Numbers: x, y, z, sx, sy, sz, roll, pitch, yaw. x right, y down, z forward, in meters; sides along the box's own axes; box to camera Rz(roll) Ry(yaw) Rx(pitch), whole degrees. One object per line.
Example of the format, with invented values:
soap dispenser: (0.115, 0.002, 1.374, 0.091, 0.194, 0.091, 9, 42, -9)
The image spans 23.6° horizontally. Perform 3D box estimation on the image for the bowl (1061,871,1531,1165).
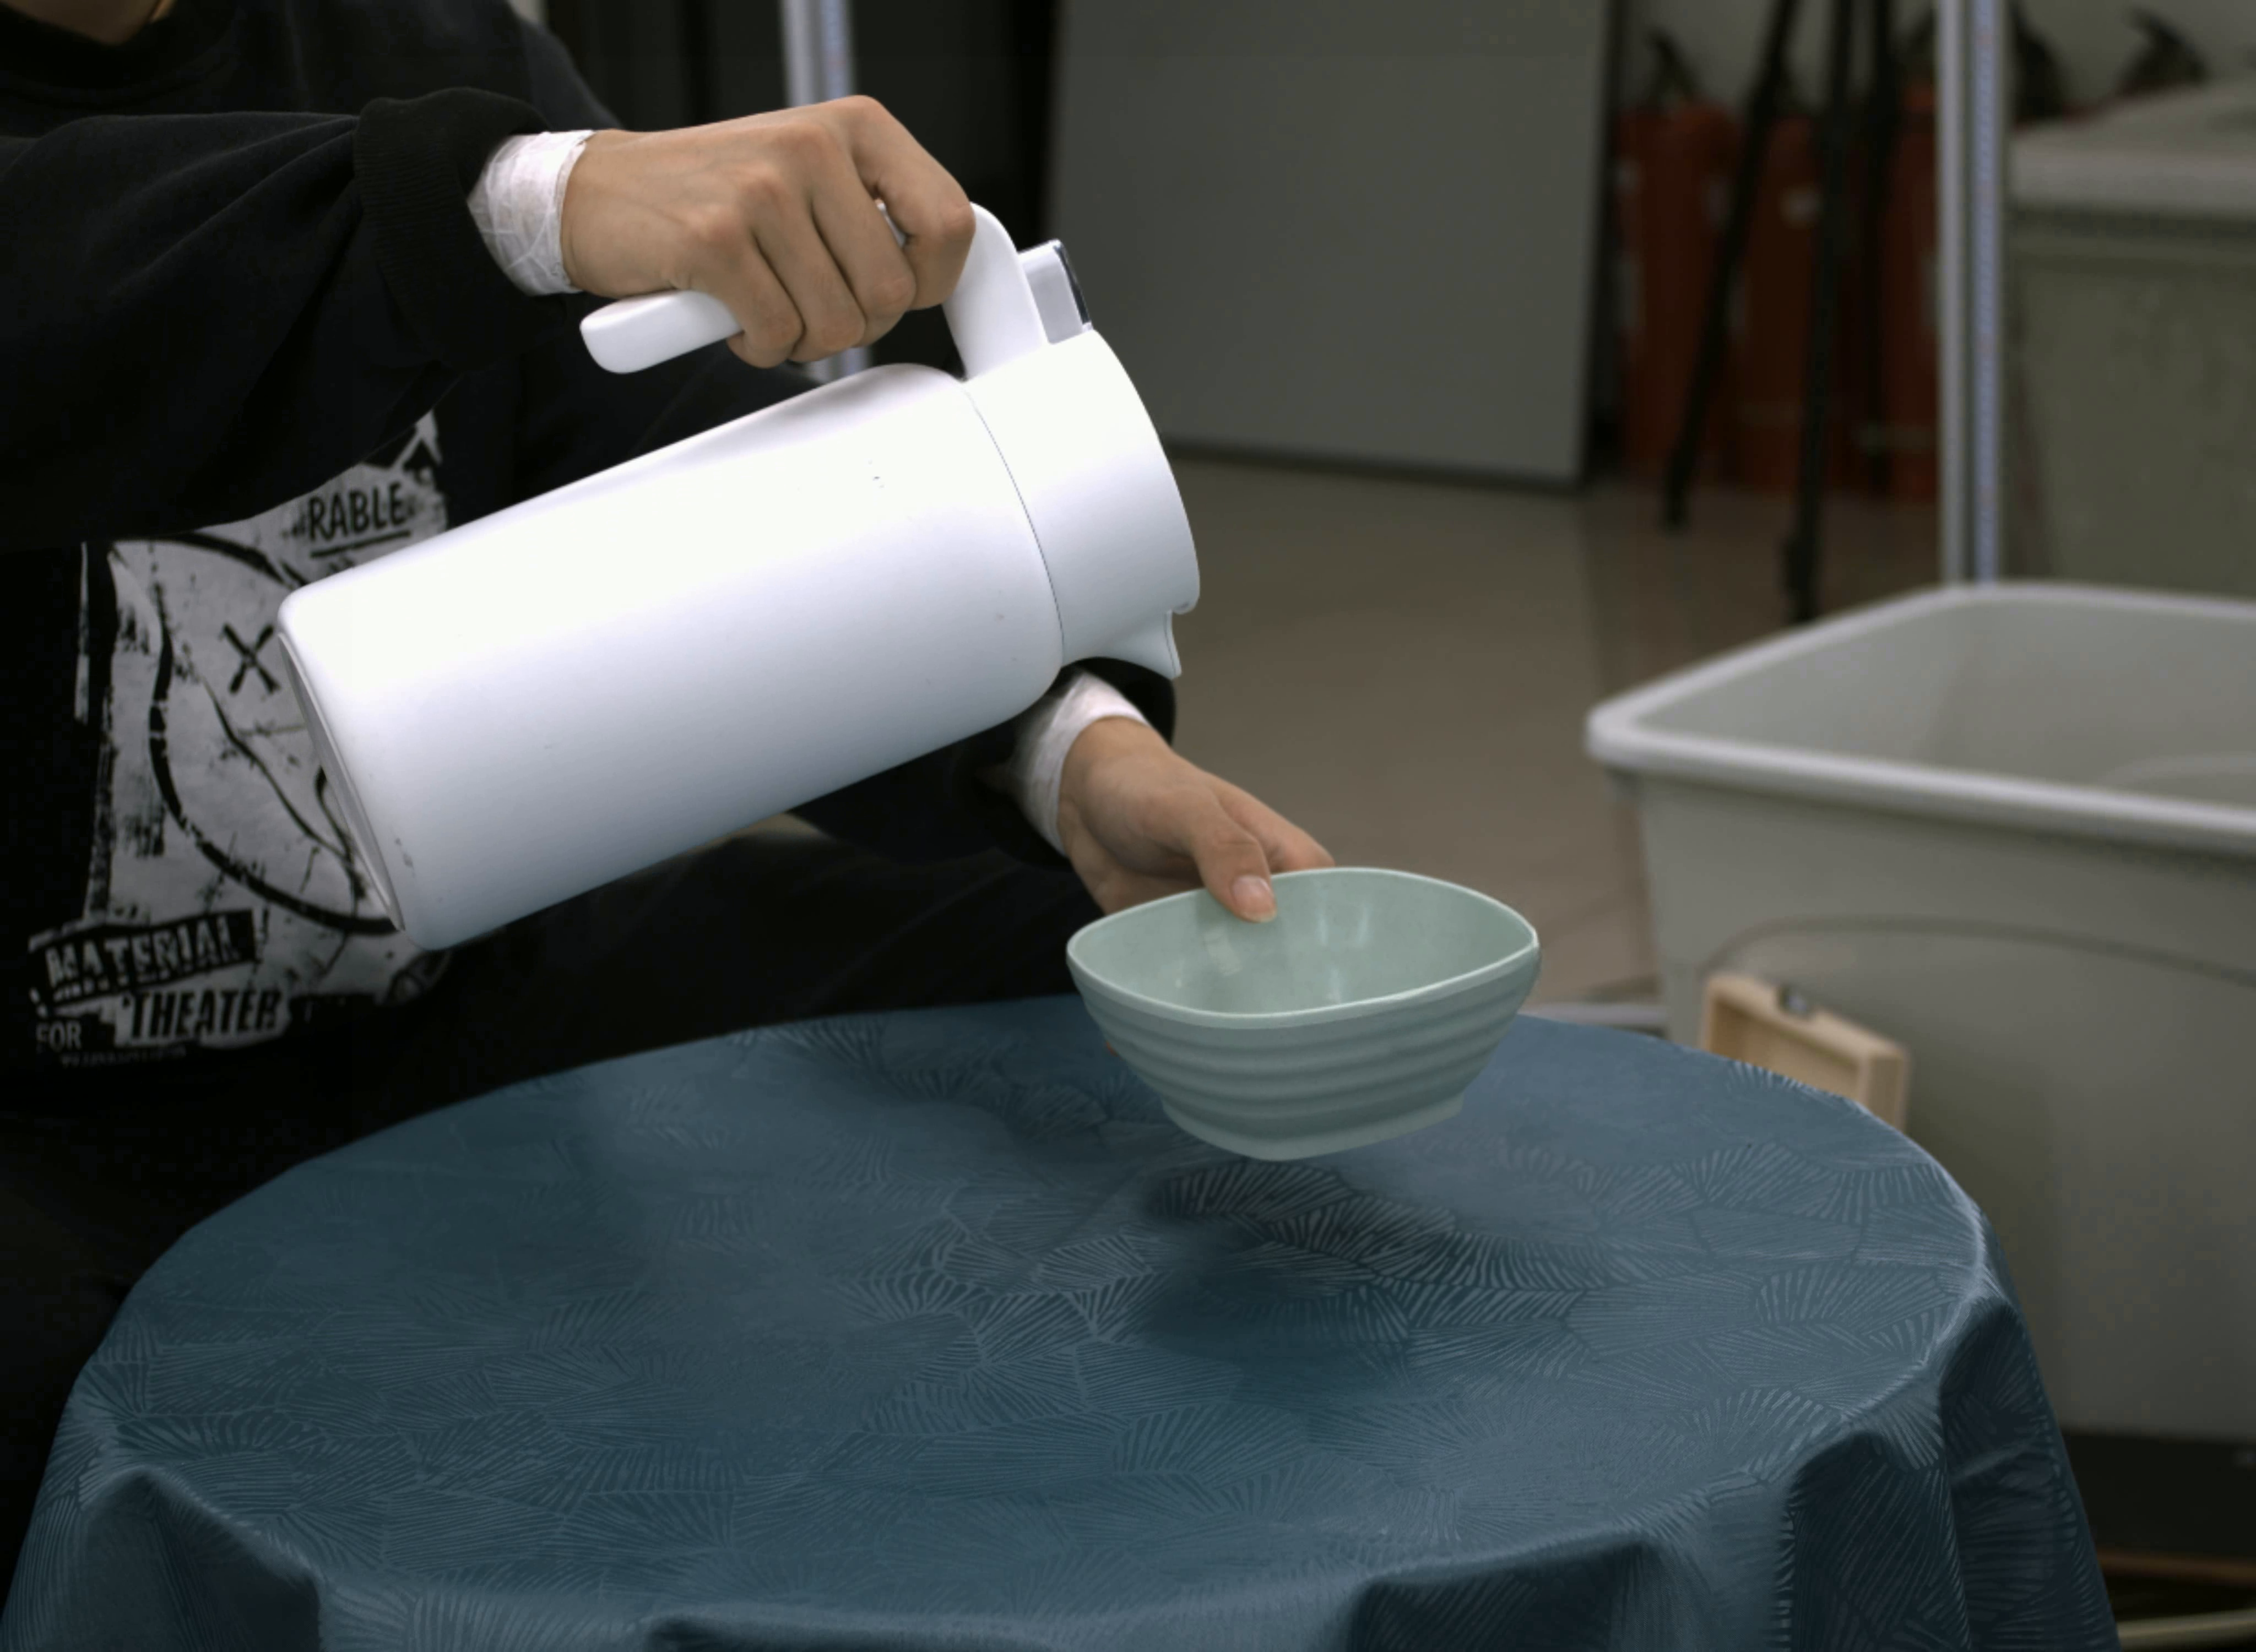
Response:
bowl: (0.054, 0.063, 1.695, 0.149, 0.059, 0.152, -5, 15, 0)

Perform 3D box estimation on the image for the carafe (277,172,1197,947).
carafe: (-0.122, -0.081, 1.637, 0.265, 0.174, 0.125, -22, 16, -8)
